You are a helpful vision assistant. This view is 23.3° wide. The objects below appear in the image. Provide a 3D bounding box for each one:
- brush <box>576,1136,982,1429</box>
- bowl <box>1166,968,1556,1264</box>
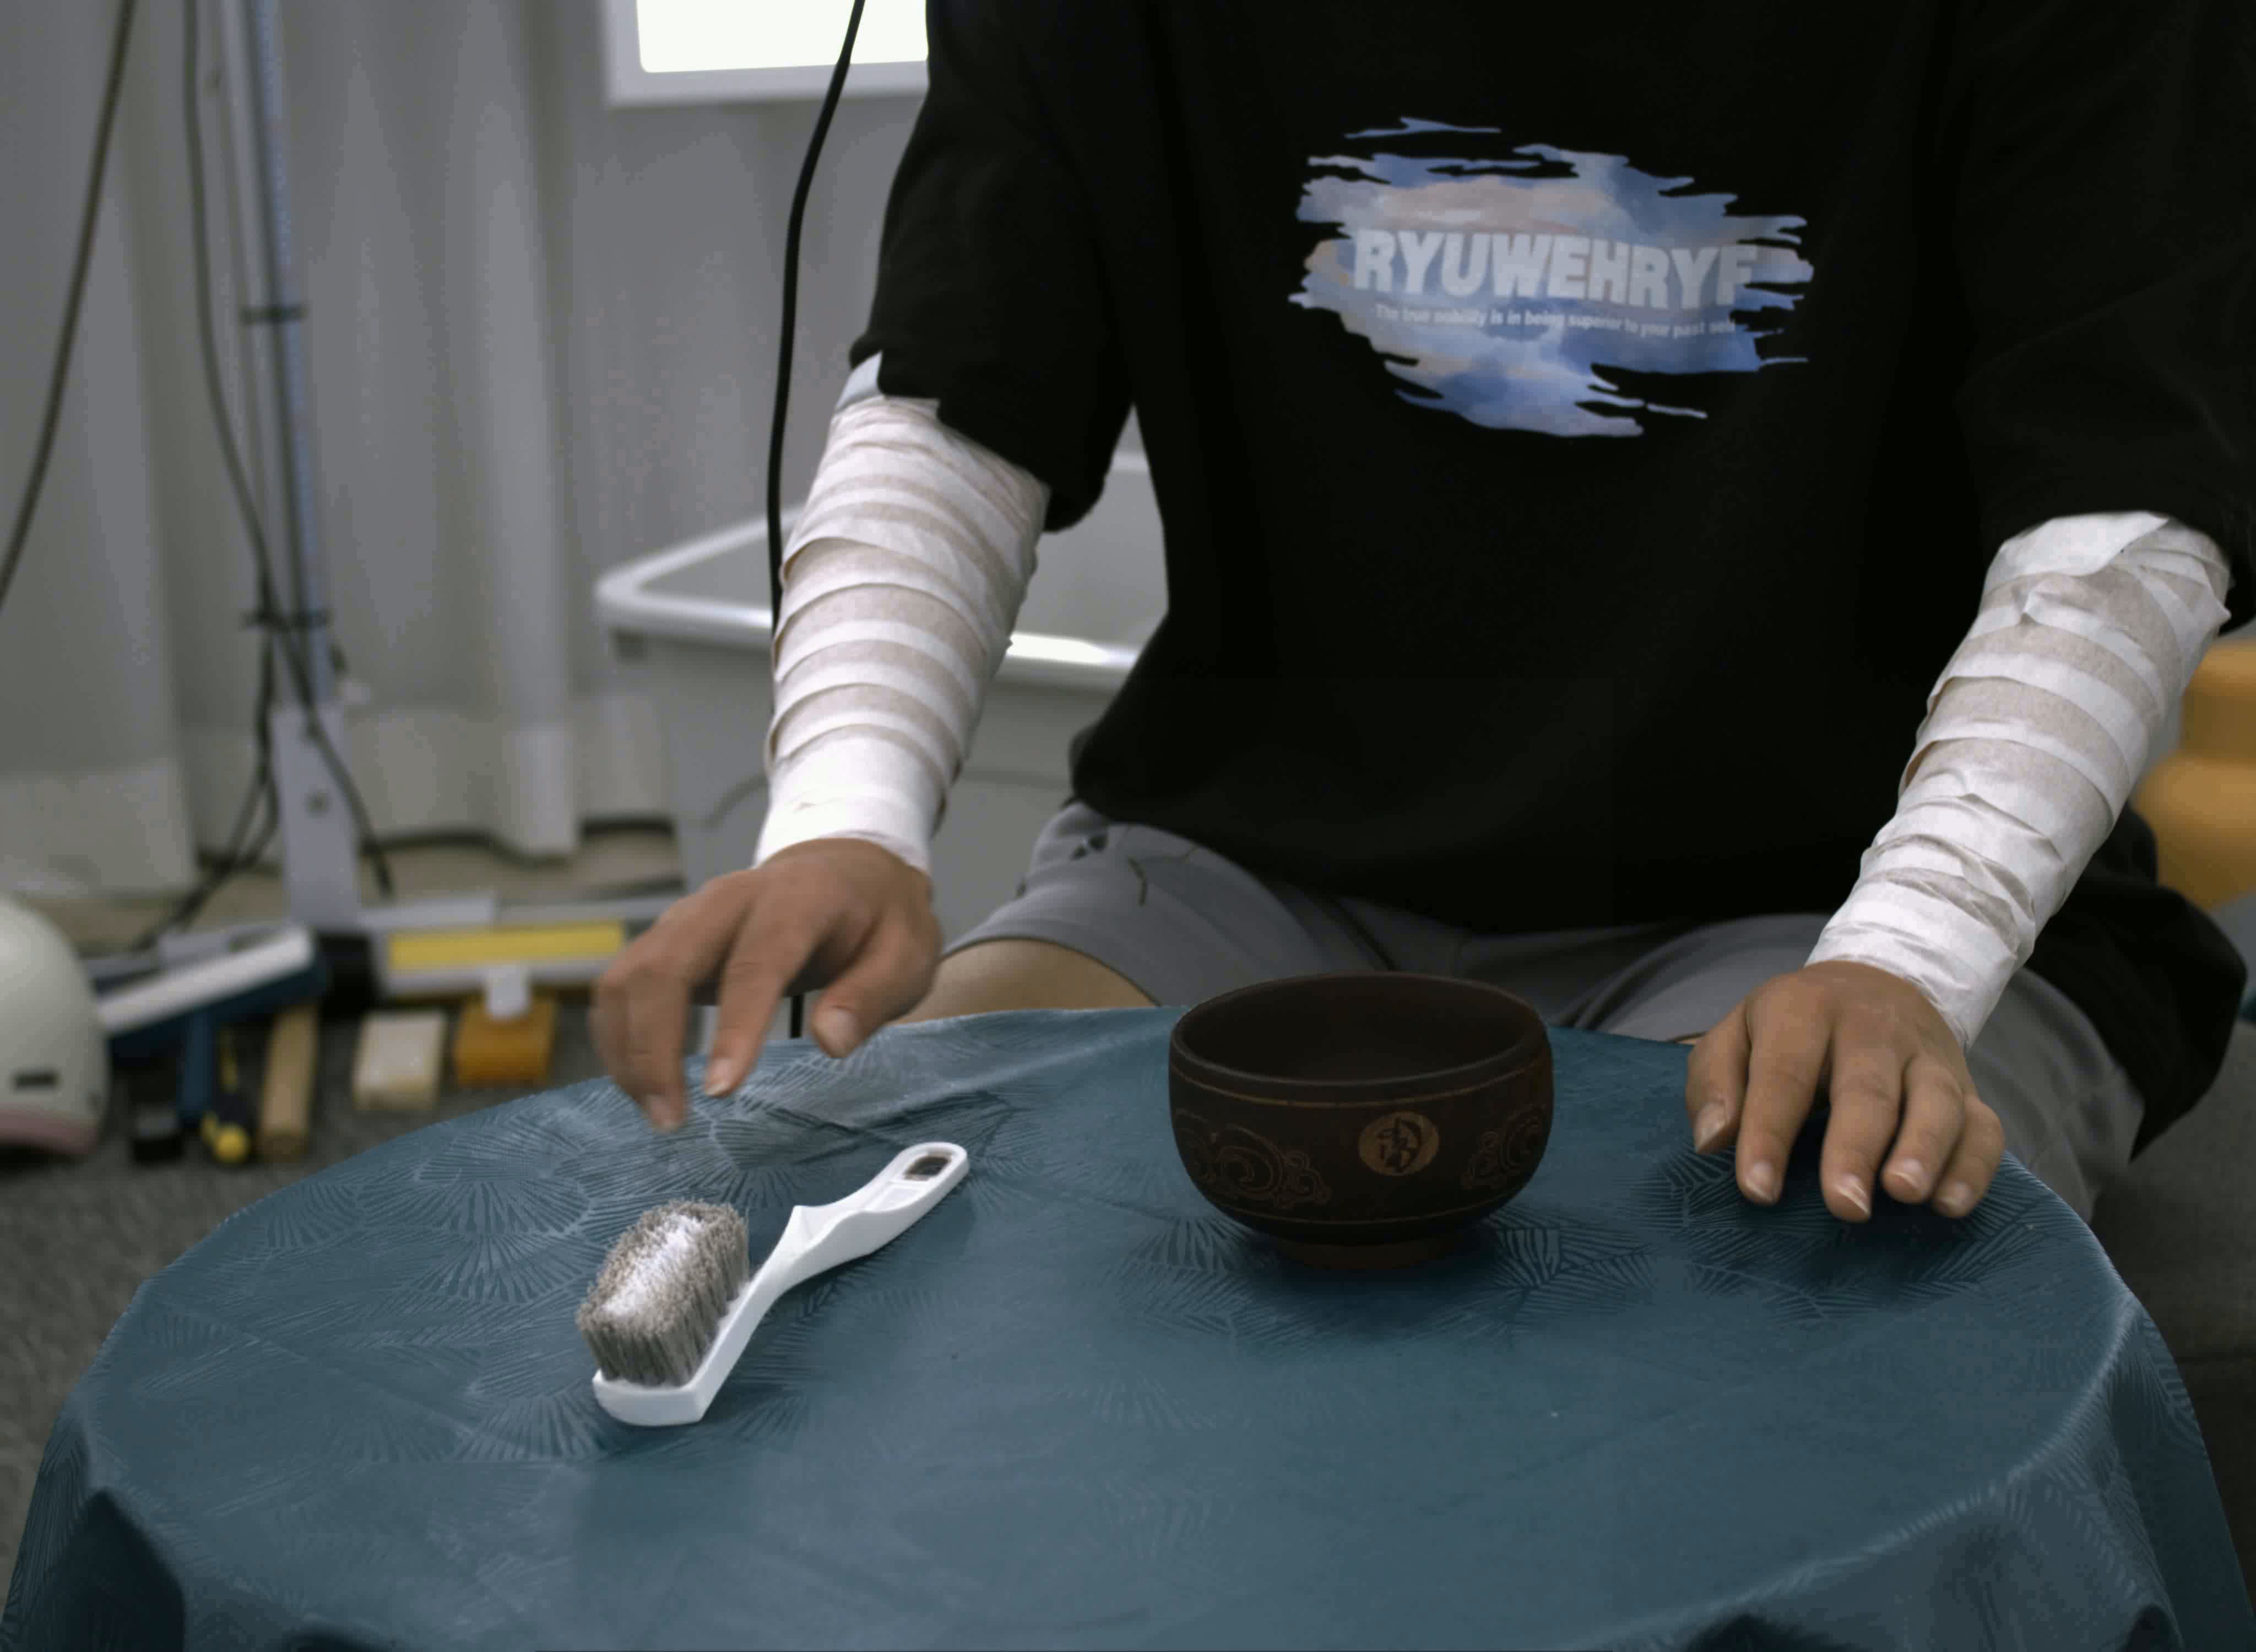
[{"bbox_3d":[-0.098,0.116,1.627,0.034,0.050,0.244,4,17,21],"label":"brush"},{"bbox_3d":[0.071,0.091,1.648,0.117,0.069,0.118,-3,12,0],"label":"bowl"}]
